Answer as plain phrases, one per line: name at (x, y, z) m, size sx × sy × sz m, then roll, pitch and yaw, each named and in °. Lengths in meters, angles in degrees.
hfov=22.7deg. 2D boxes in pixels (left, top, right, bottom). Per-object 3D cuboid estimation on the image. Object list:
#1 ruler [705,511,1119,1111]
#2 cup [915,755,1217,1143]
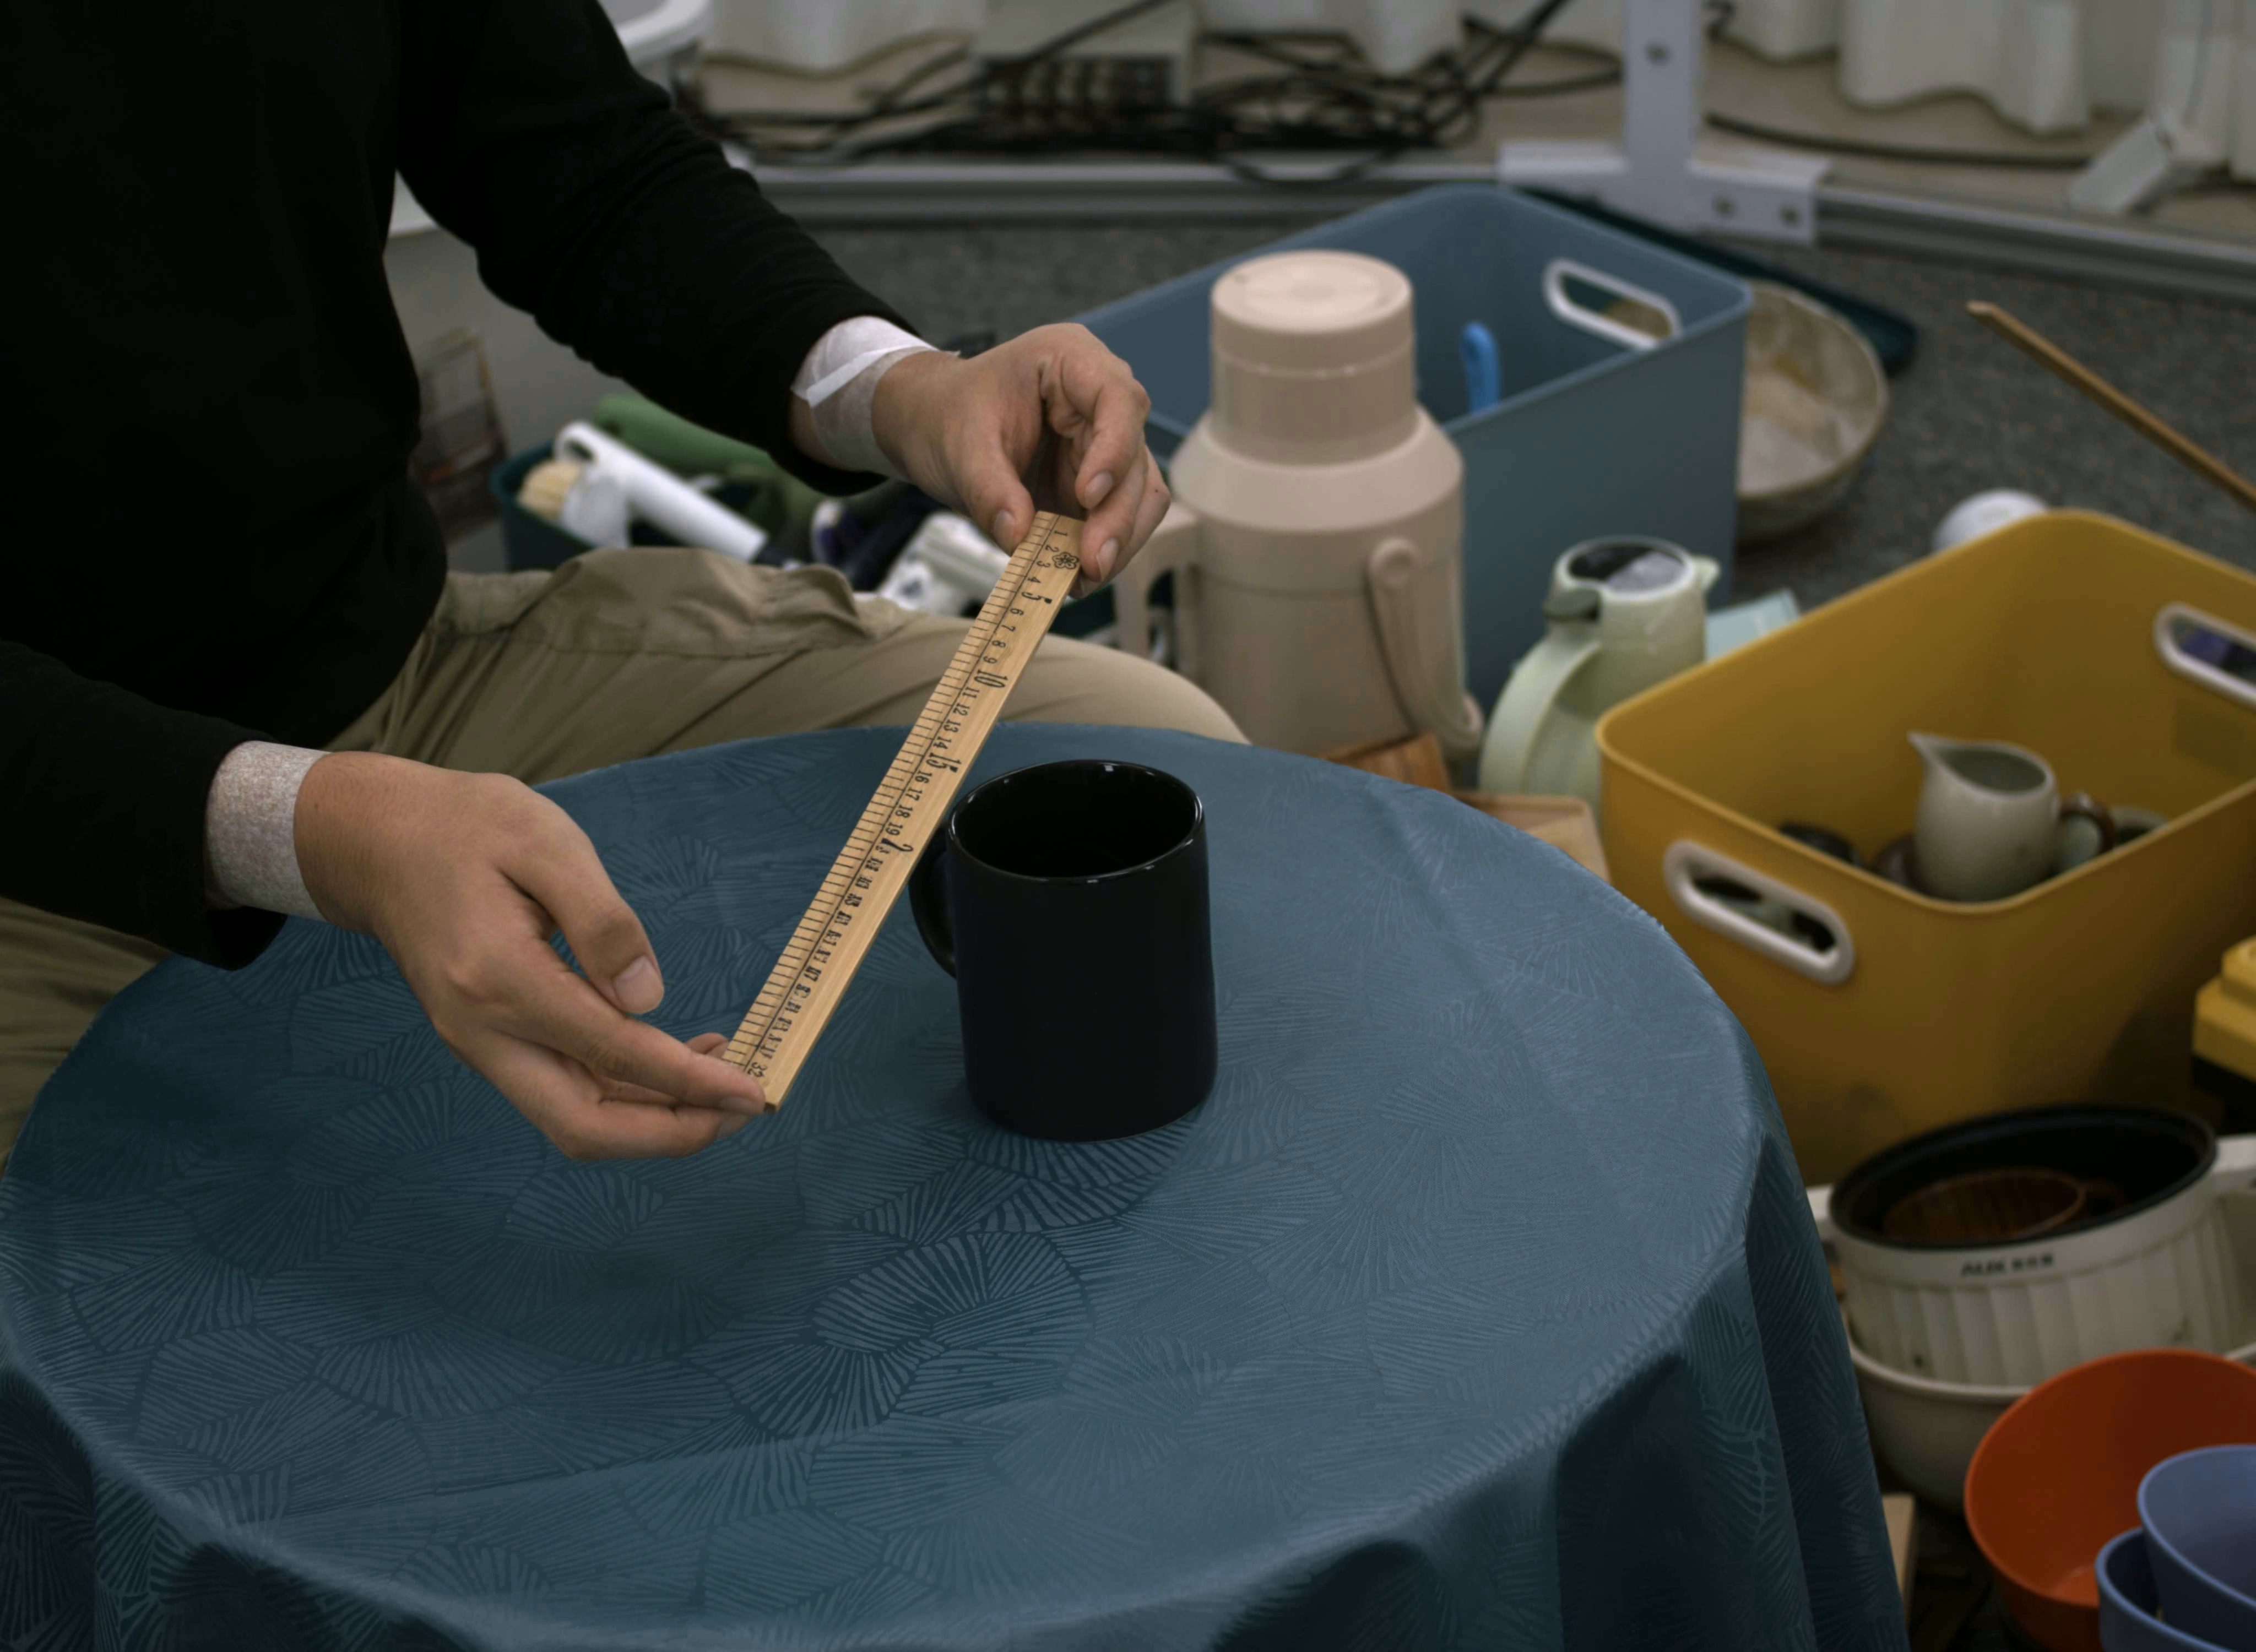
ruler at (-0.069, -0.014, 1.896) m, size 0.027 × 0.022 × 0.338 m, roll 20°, pitch 41°, yaw 8°
cup at (-0.028, 0.036, 1.917) m, size 0.090 × 0.104 × 0.123 m, roll -28°, pitch 36°, yaw -36°
